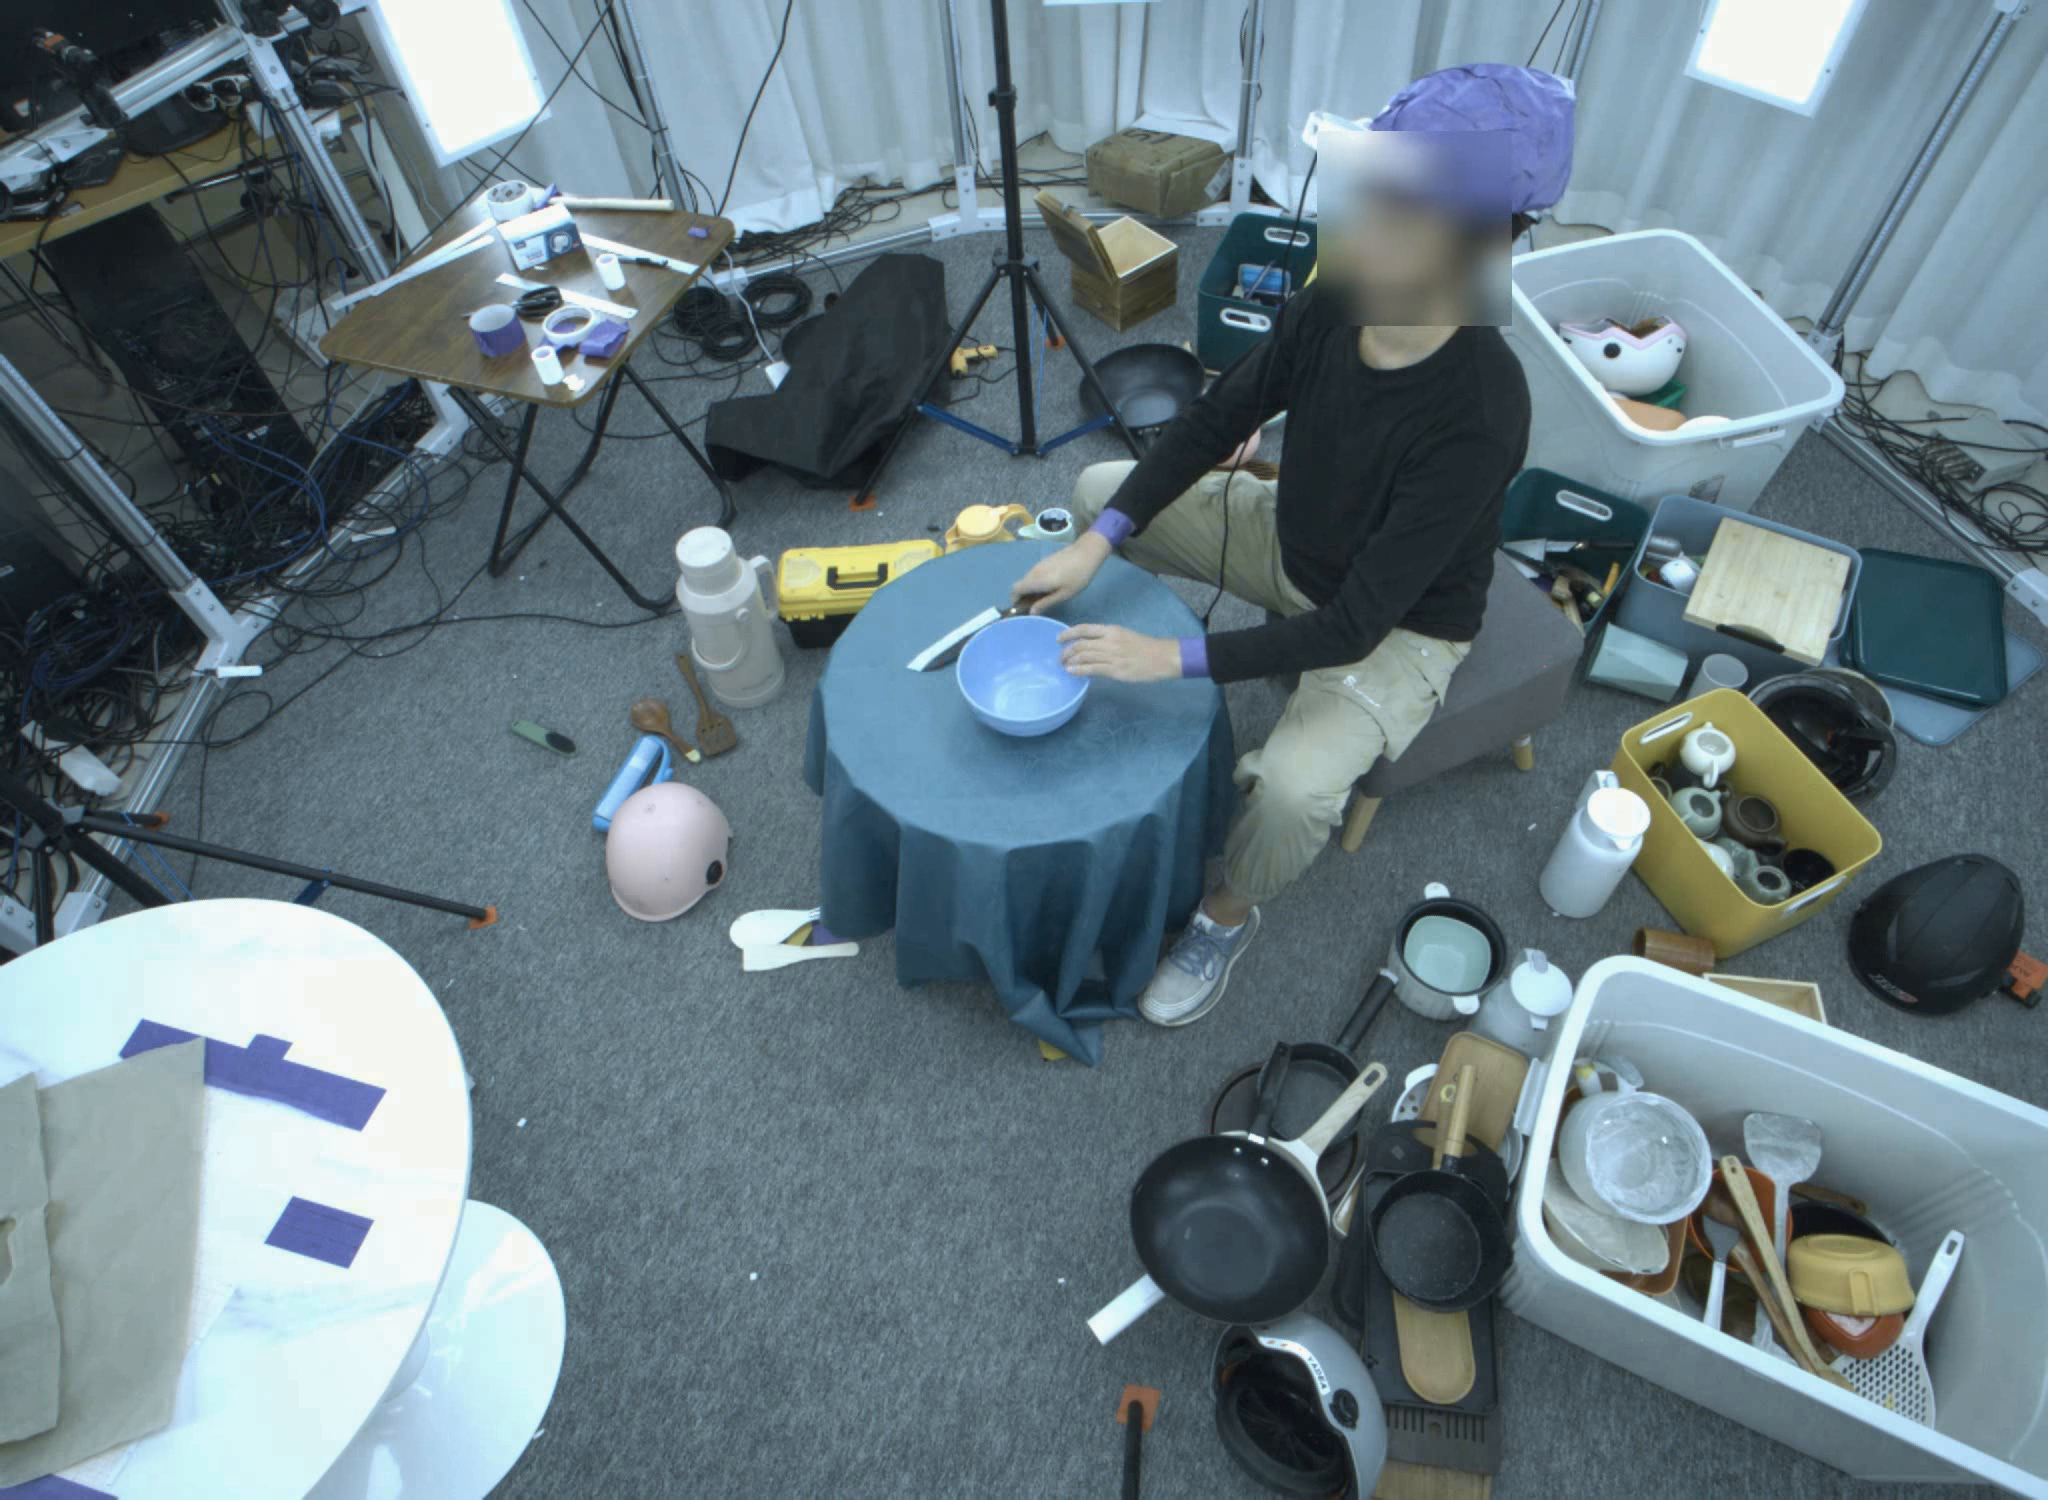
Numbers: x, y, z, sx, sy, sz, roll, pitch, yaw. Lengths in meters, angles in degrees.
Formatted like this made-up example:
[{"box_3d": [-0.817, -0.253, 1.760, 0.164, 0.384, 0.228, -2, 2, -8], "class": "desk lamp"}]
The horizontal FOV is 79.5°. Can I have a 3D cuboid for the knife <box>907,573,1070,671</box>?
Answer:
[{"box_3d": [-0.055, -0.196, 1.898, 0.290, 0.020, 0.049, -31, 60, -9], "class": "knife"}]

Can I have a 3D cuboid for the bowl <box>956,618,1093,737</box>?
[{"box_3d": [0.002, -0.091, 1.793, 0.196, 0.096, 0.194, 0, 53, 1], "class": "bowl"}]
